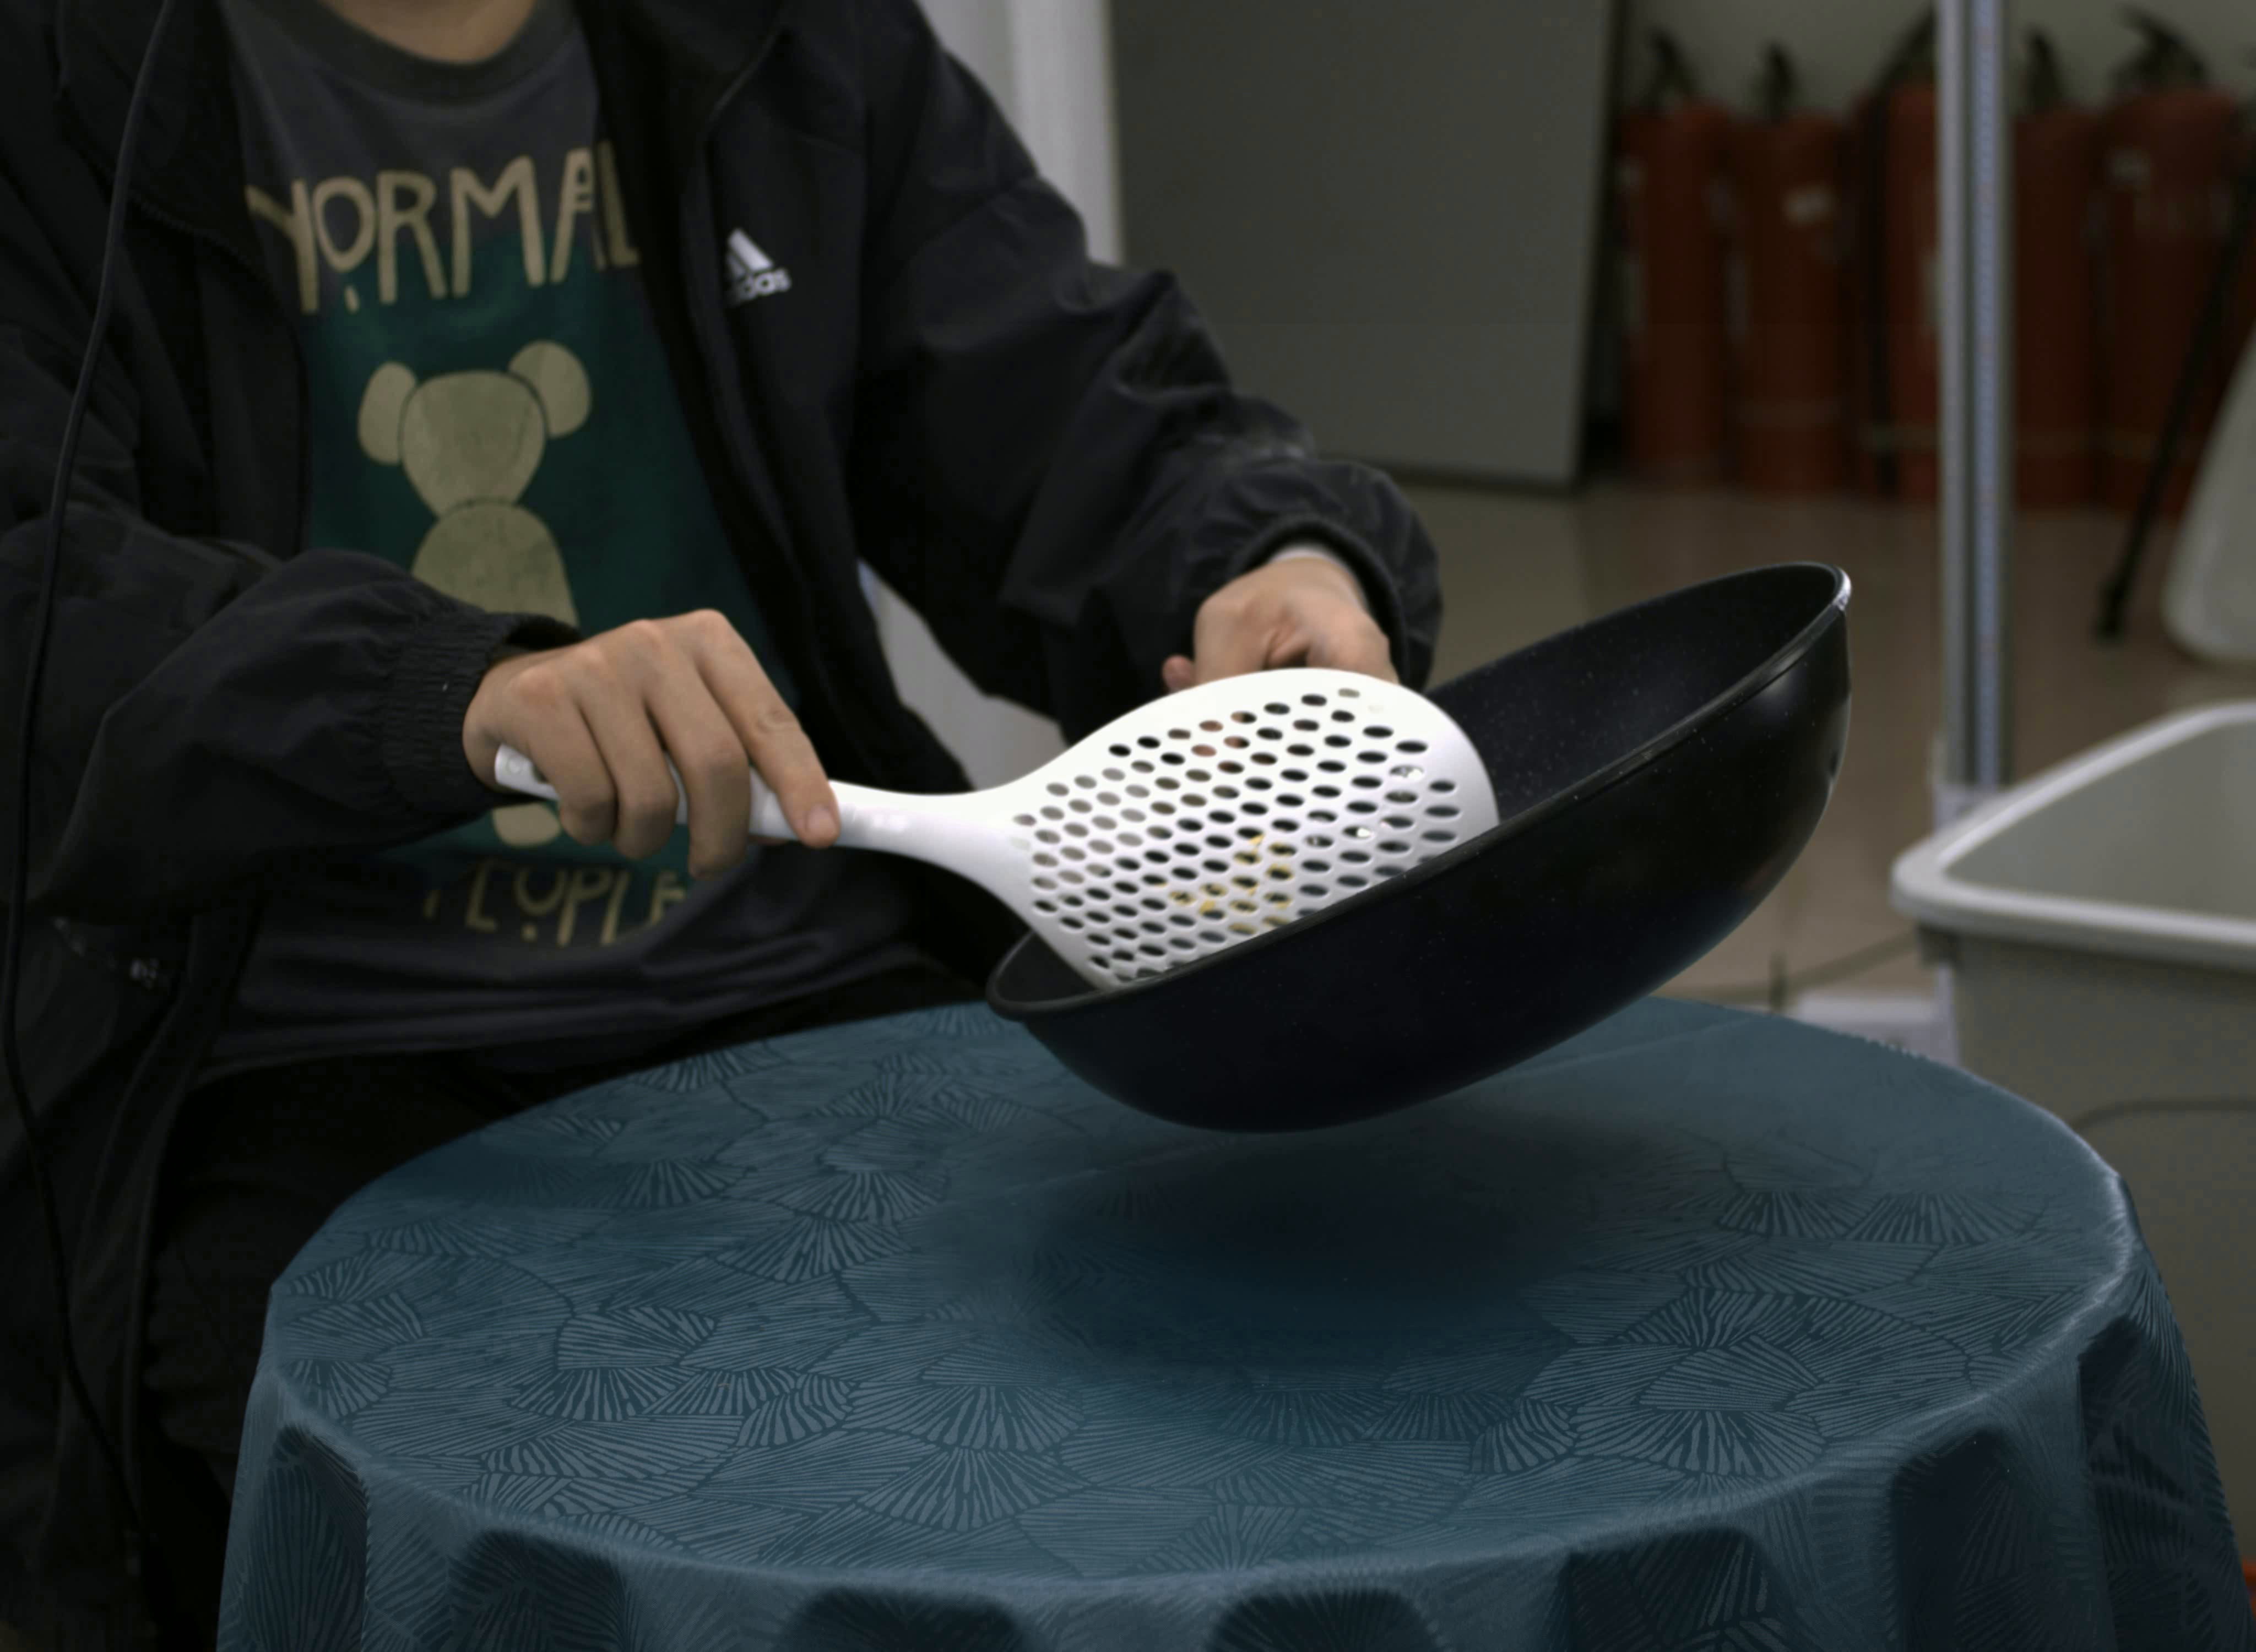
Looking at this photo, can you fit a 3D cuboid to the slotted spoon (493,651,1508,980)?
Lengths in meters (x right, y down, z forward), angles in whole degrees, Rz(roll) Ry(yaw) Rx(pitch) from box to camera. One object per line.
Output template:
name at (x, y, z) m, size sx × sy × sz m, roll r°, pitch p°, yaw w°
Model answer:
slotted spoon at (-0.045, 0.002, 1.767) m, size 0.348 × 0.138 × 0.049 m, roll 7°, pitch 9°, yaw 22°

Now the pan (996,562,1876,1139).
pan at (0.095, 0.005, 1.801) m, size 0.307 × 0.112 × 0.479 m, roll -27°, pitch 8°, yaw -6°
